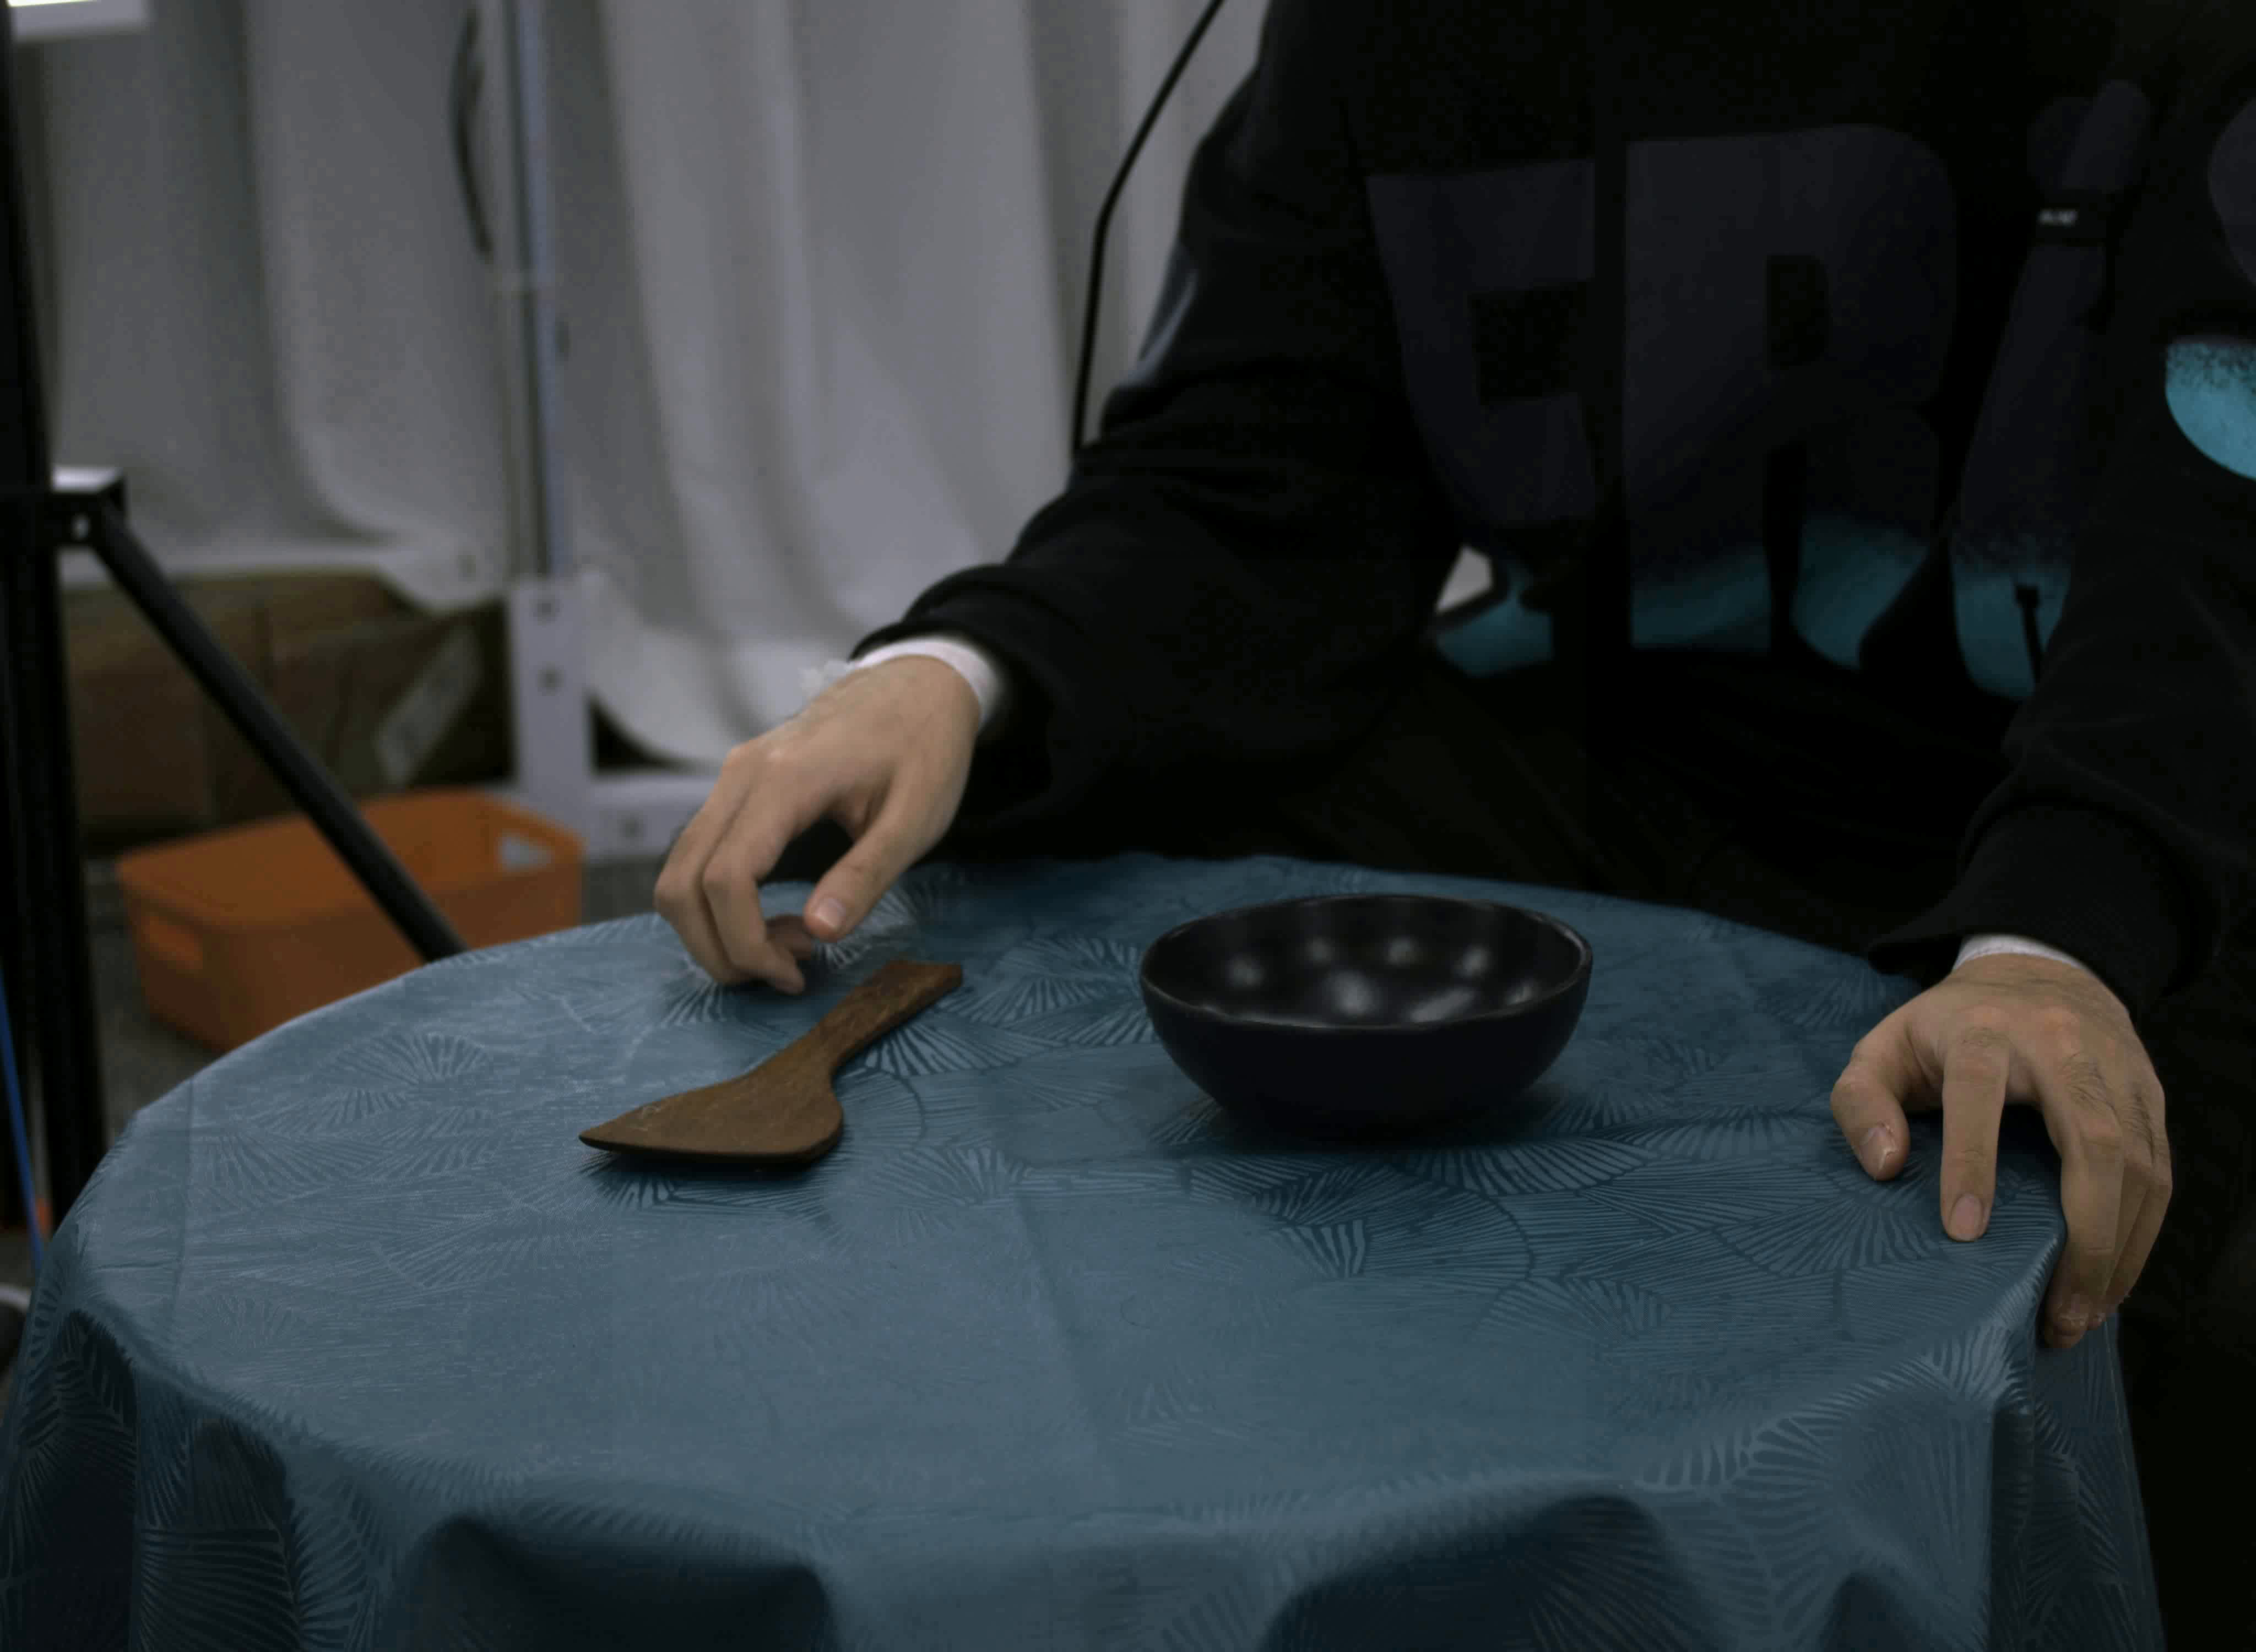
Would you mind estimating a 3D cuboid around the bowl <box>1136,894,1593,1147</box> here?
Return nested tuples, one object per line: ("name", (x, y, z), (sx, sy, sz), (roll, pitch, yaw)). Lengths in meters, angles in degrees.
("bowl", (0.073, 0.064, 1.614), (0.139, 0.050, 0.141), (-5, 15, 0))

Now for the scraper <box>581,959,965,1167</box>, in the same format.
("scraper", (-0.099, 0.074, 1.680), (0.077, 0.011, 0.209), (4, 17, 19))
